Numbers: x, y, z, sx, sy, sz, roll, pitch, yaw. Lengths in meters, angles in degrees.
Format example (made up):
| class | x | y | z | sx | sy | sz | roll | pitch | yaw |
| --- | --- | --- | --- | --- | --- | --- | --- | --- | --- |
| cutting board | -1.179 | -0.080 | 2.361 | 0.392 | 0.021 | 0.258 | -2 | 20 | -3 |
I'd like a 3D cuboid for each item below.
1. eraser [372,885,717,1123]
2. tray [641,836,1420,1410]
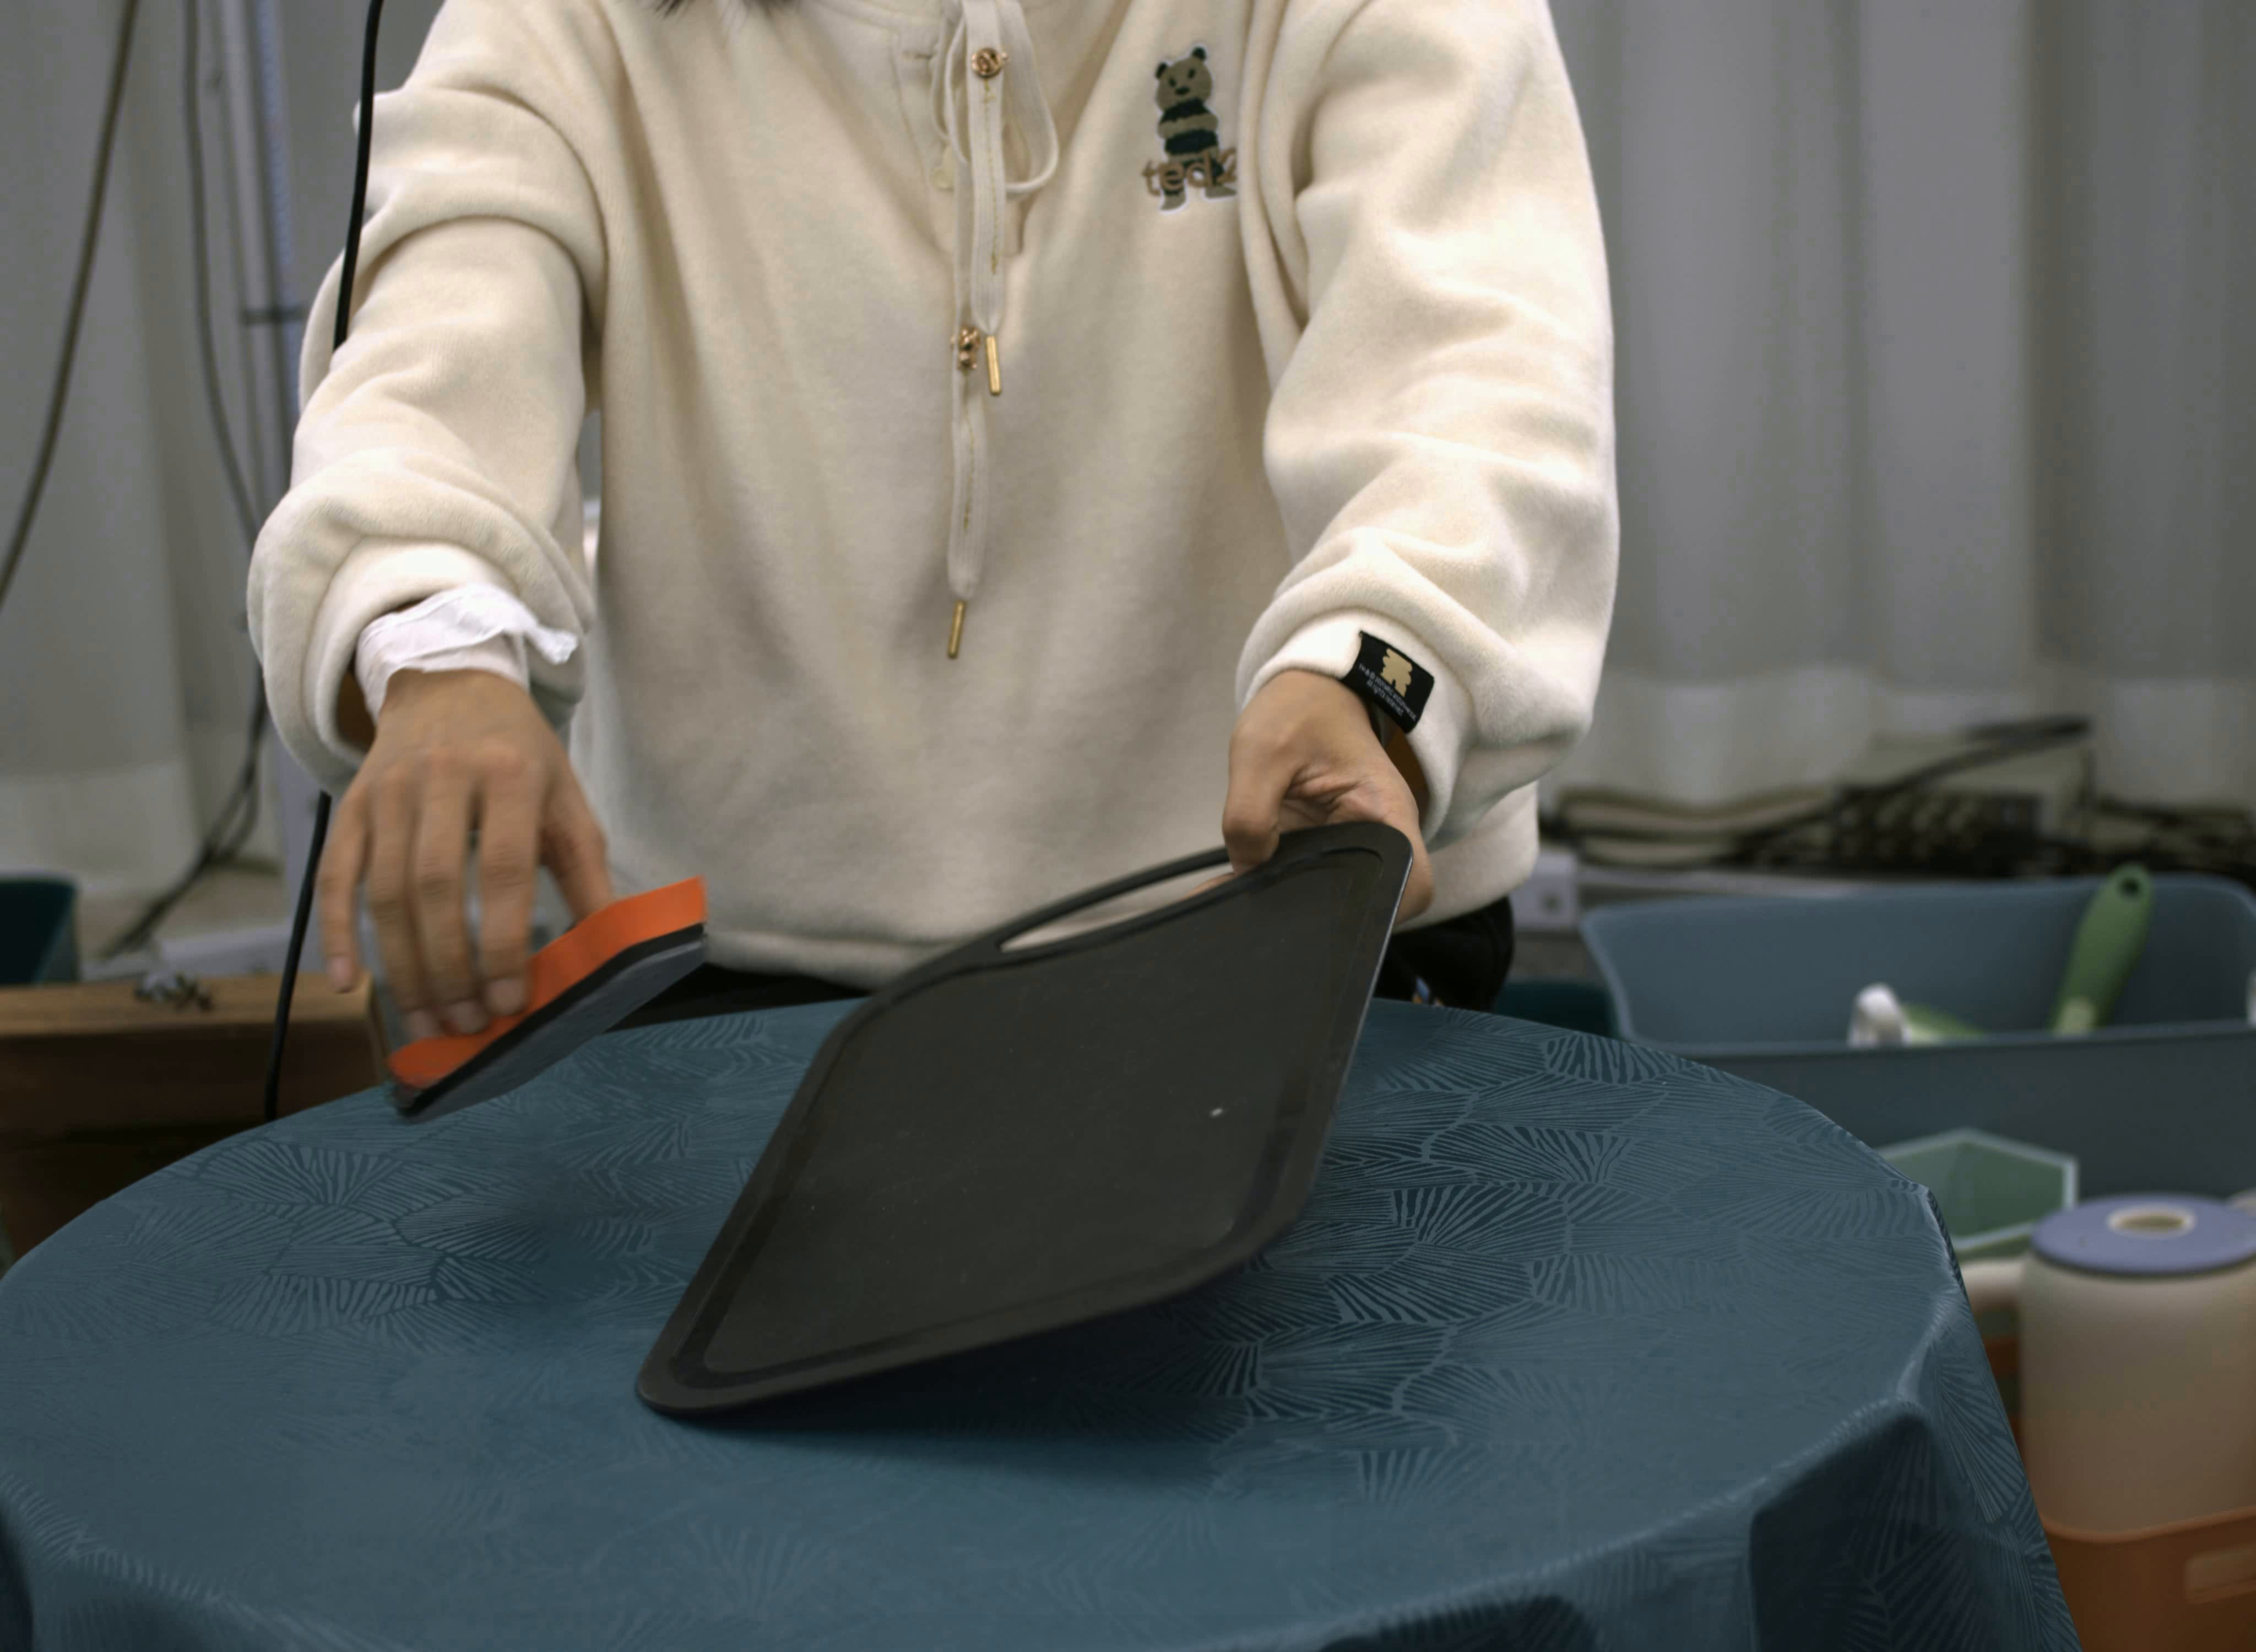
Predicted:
| class | x | y | z | sx | sy | sz | roll | pitch | yaw |
| --- | --- | --- | --- | --- | --- | --- | --- | --- | --- |
| eraser | -0.180 | 0.055 | 1.685 | 0.107 | 0.023 | 0.059 | -33 | -7 | 31 |
| tray | -0.023 | 0.081 | 1.651 | 0.210 | 0.010 | 0.328 | -17 | 18 | 18 |
